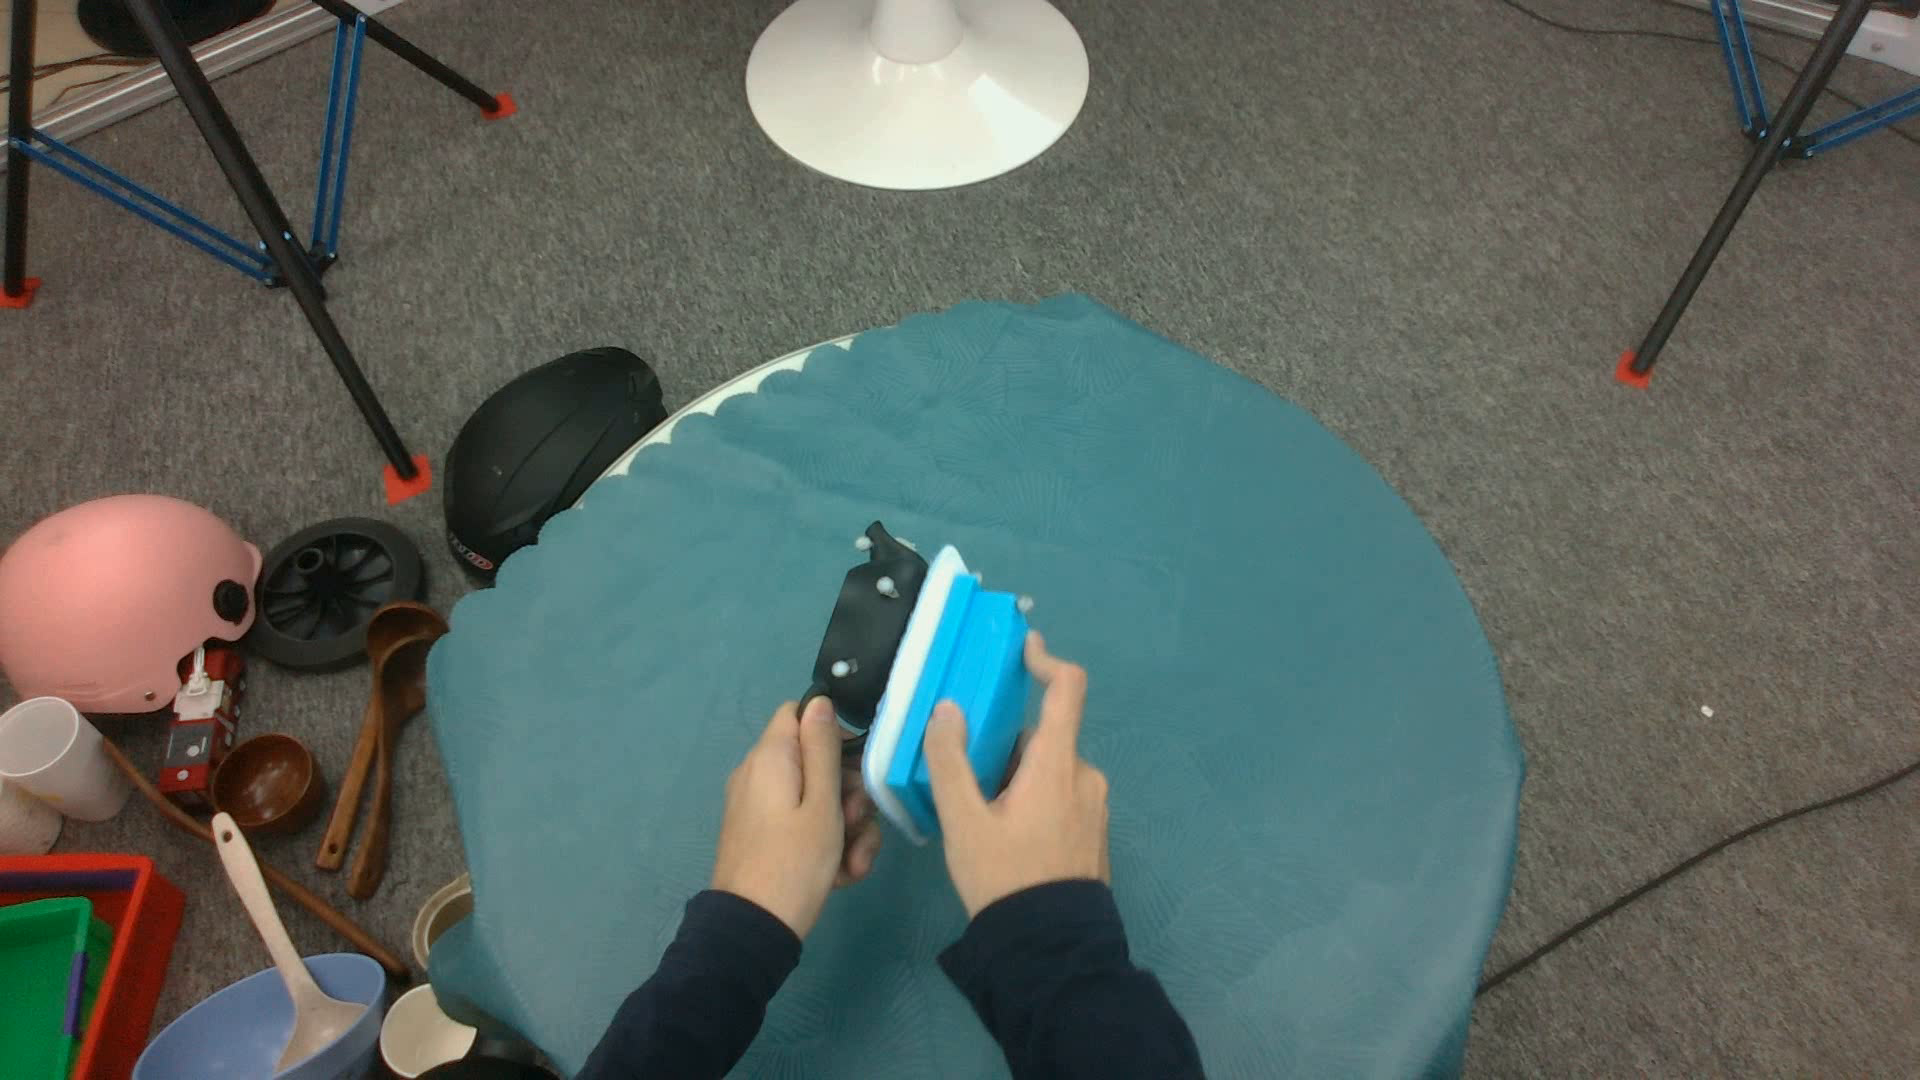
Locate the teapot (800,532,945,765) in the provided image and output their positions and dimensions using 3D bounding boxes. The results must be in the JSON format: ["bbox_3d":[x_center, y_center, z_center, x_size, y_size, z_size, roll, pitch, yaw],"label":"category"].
[{"bbox_3d":[-0.041,0.058,0.712,0.053,0.090,0.134,20,58,-1],"label":"teapot"}]

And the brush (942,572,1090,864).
[{"bbox_3d":[0.033,0.085,0.683,0.056,0.084,0.144,-17,66,30],"label":"brush"}]
